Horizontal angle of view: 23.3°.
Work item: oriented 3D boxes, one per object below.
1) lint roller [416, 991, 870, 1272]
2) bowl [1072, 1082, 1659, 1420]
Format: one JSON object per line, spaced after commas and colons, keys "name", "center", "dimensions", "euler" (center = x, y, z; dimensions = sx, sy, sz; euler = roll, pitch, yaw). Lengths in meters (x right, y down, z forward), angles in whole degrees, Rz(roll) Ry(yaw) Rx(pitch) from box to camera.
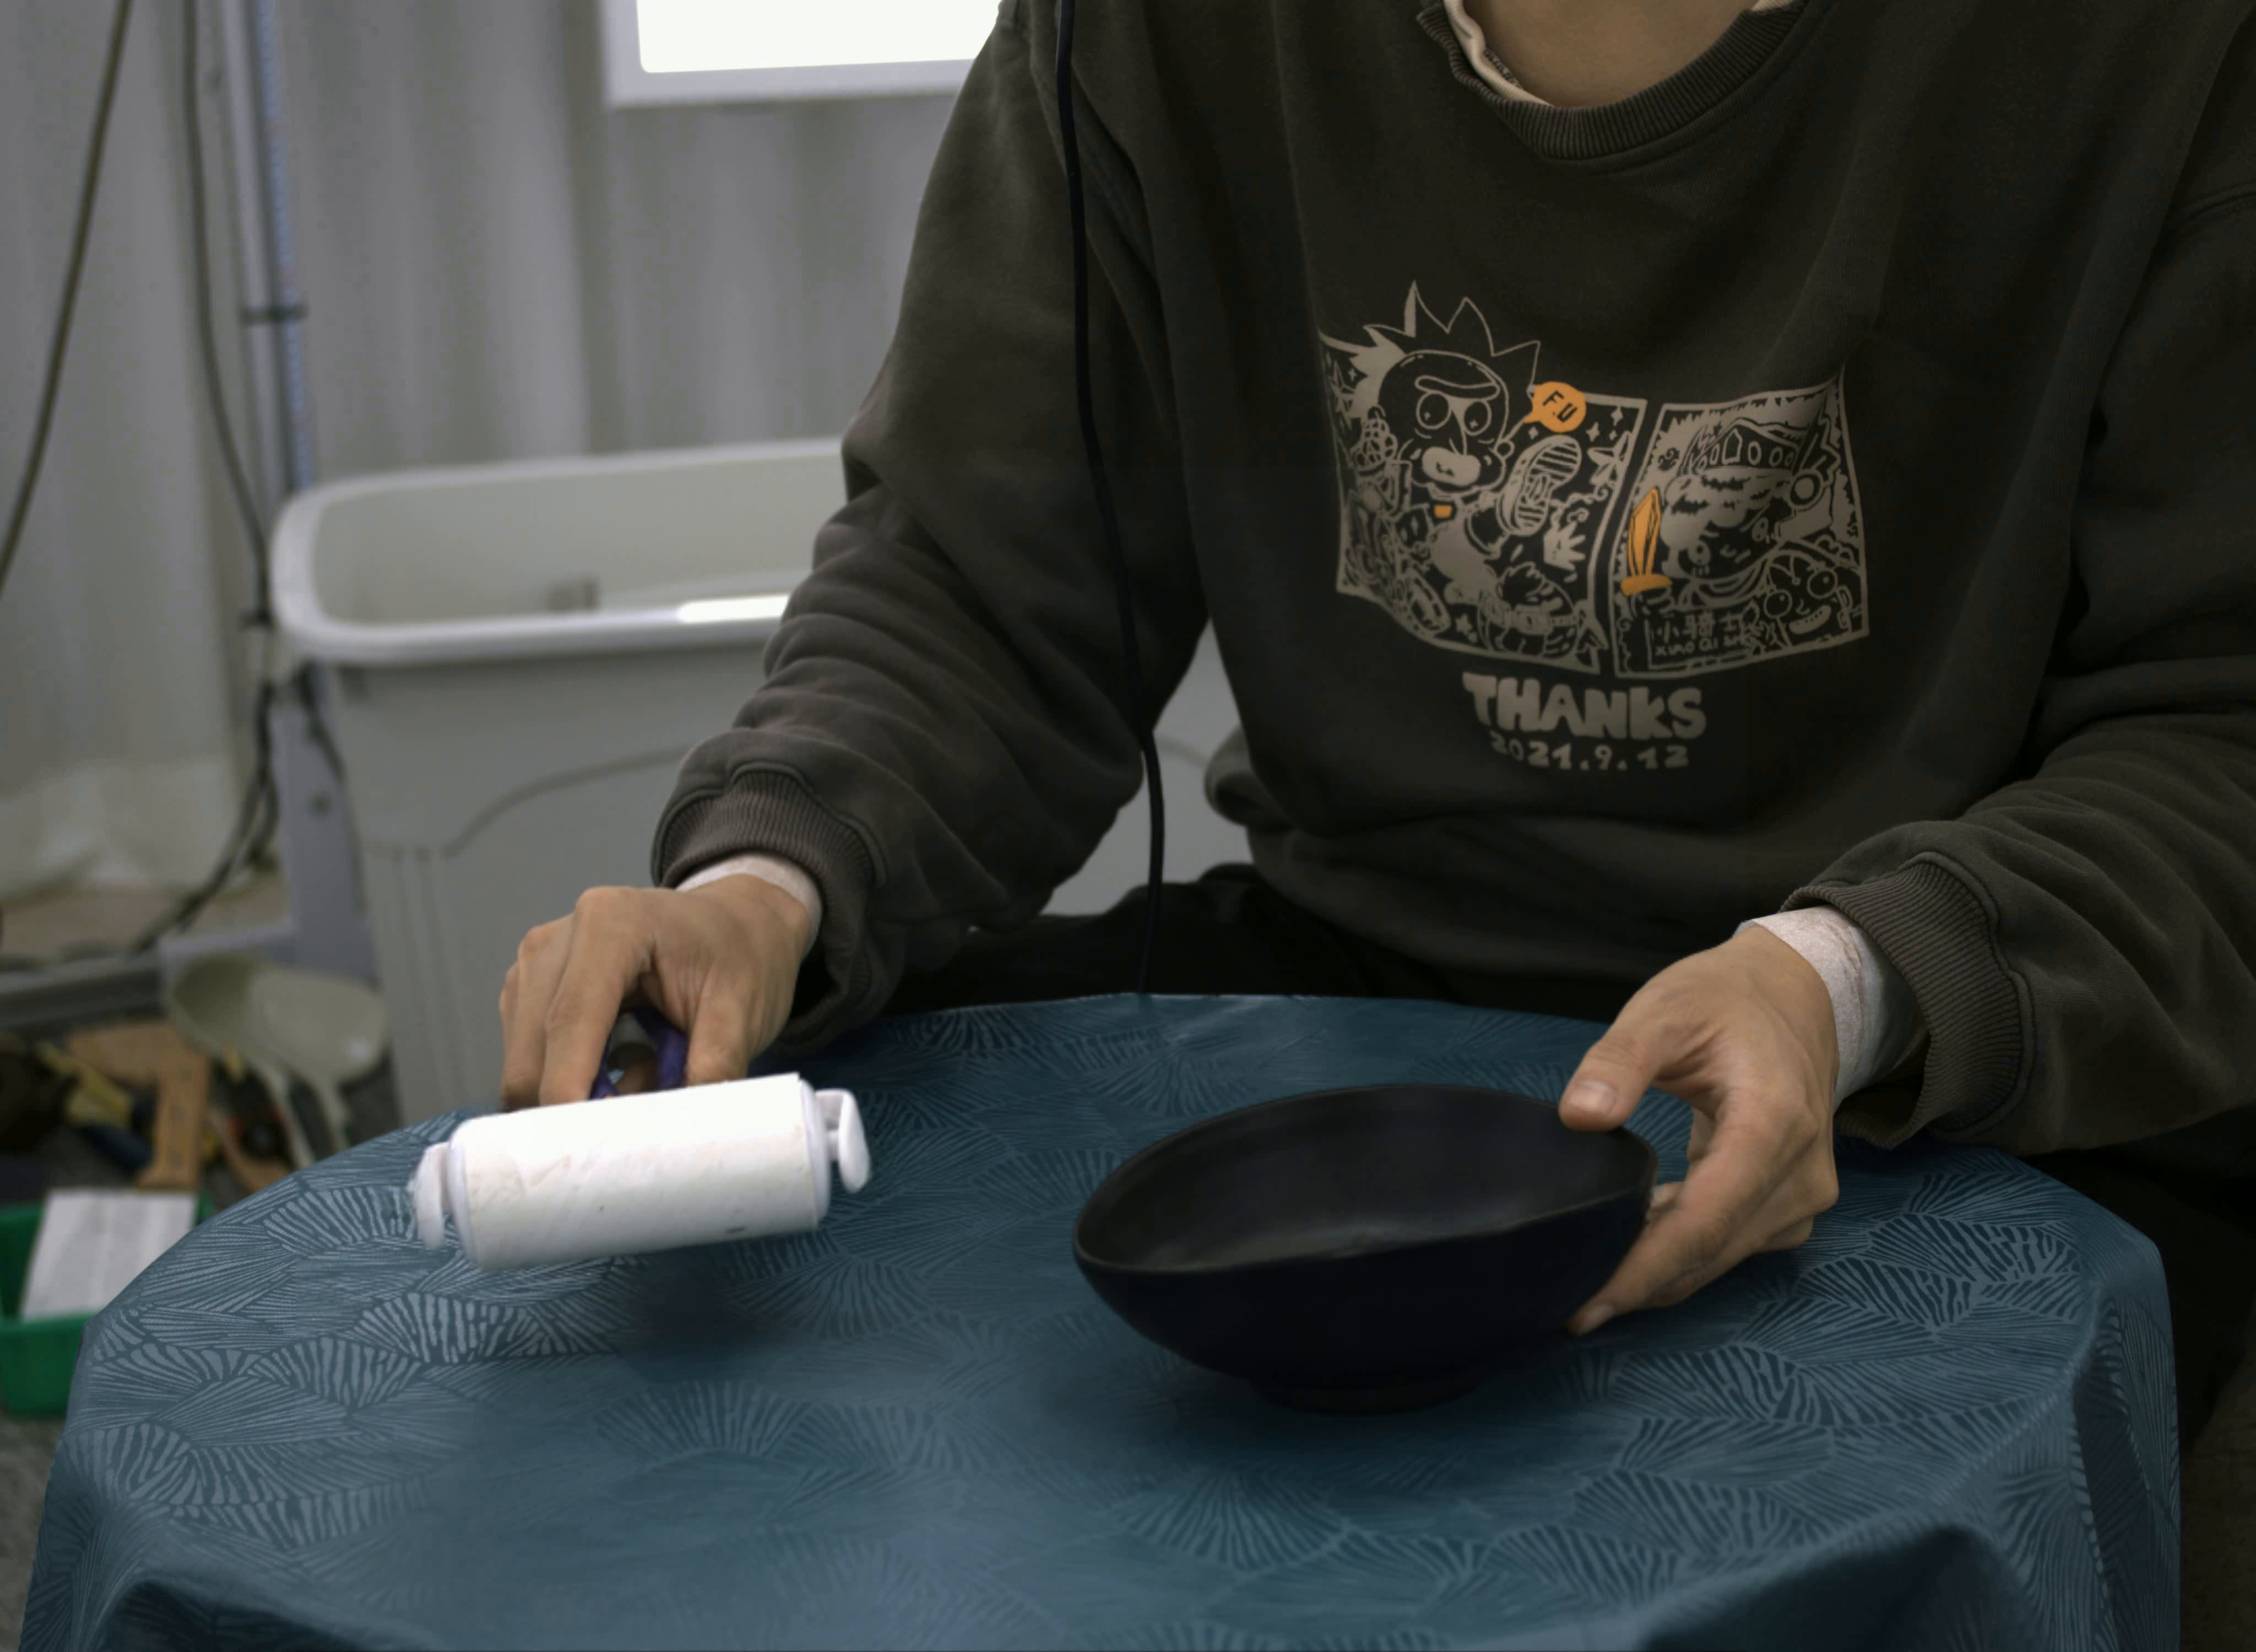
{"name": "lint roller", "center": [-0.148, 0.075, 1.661], "dimensions": [0.132, 0.050, 0.183], "euler": [-8, 24, -2]}
{"name": "bowl", "center": [0.070, 0.126, 1.546], "dimensions": [0.169, 0.066, 0.138], "euler": [-9, 15, -16]}
